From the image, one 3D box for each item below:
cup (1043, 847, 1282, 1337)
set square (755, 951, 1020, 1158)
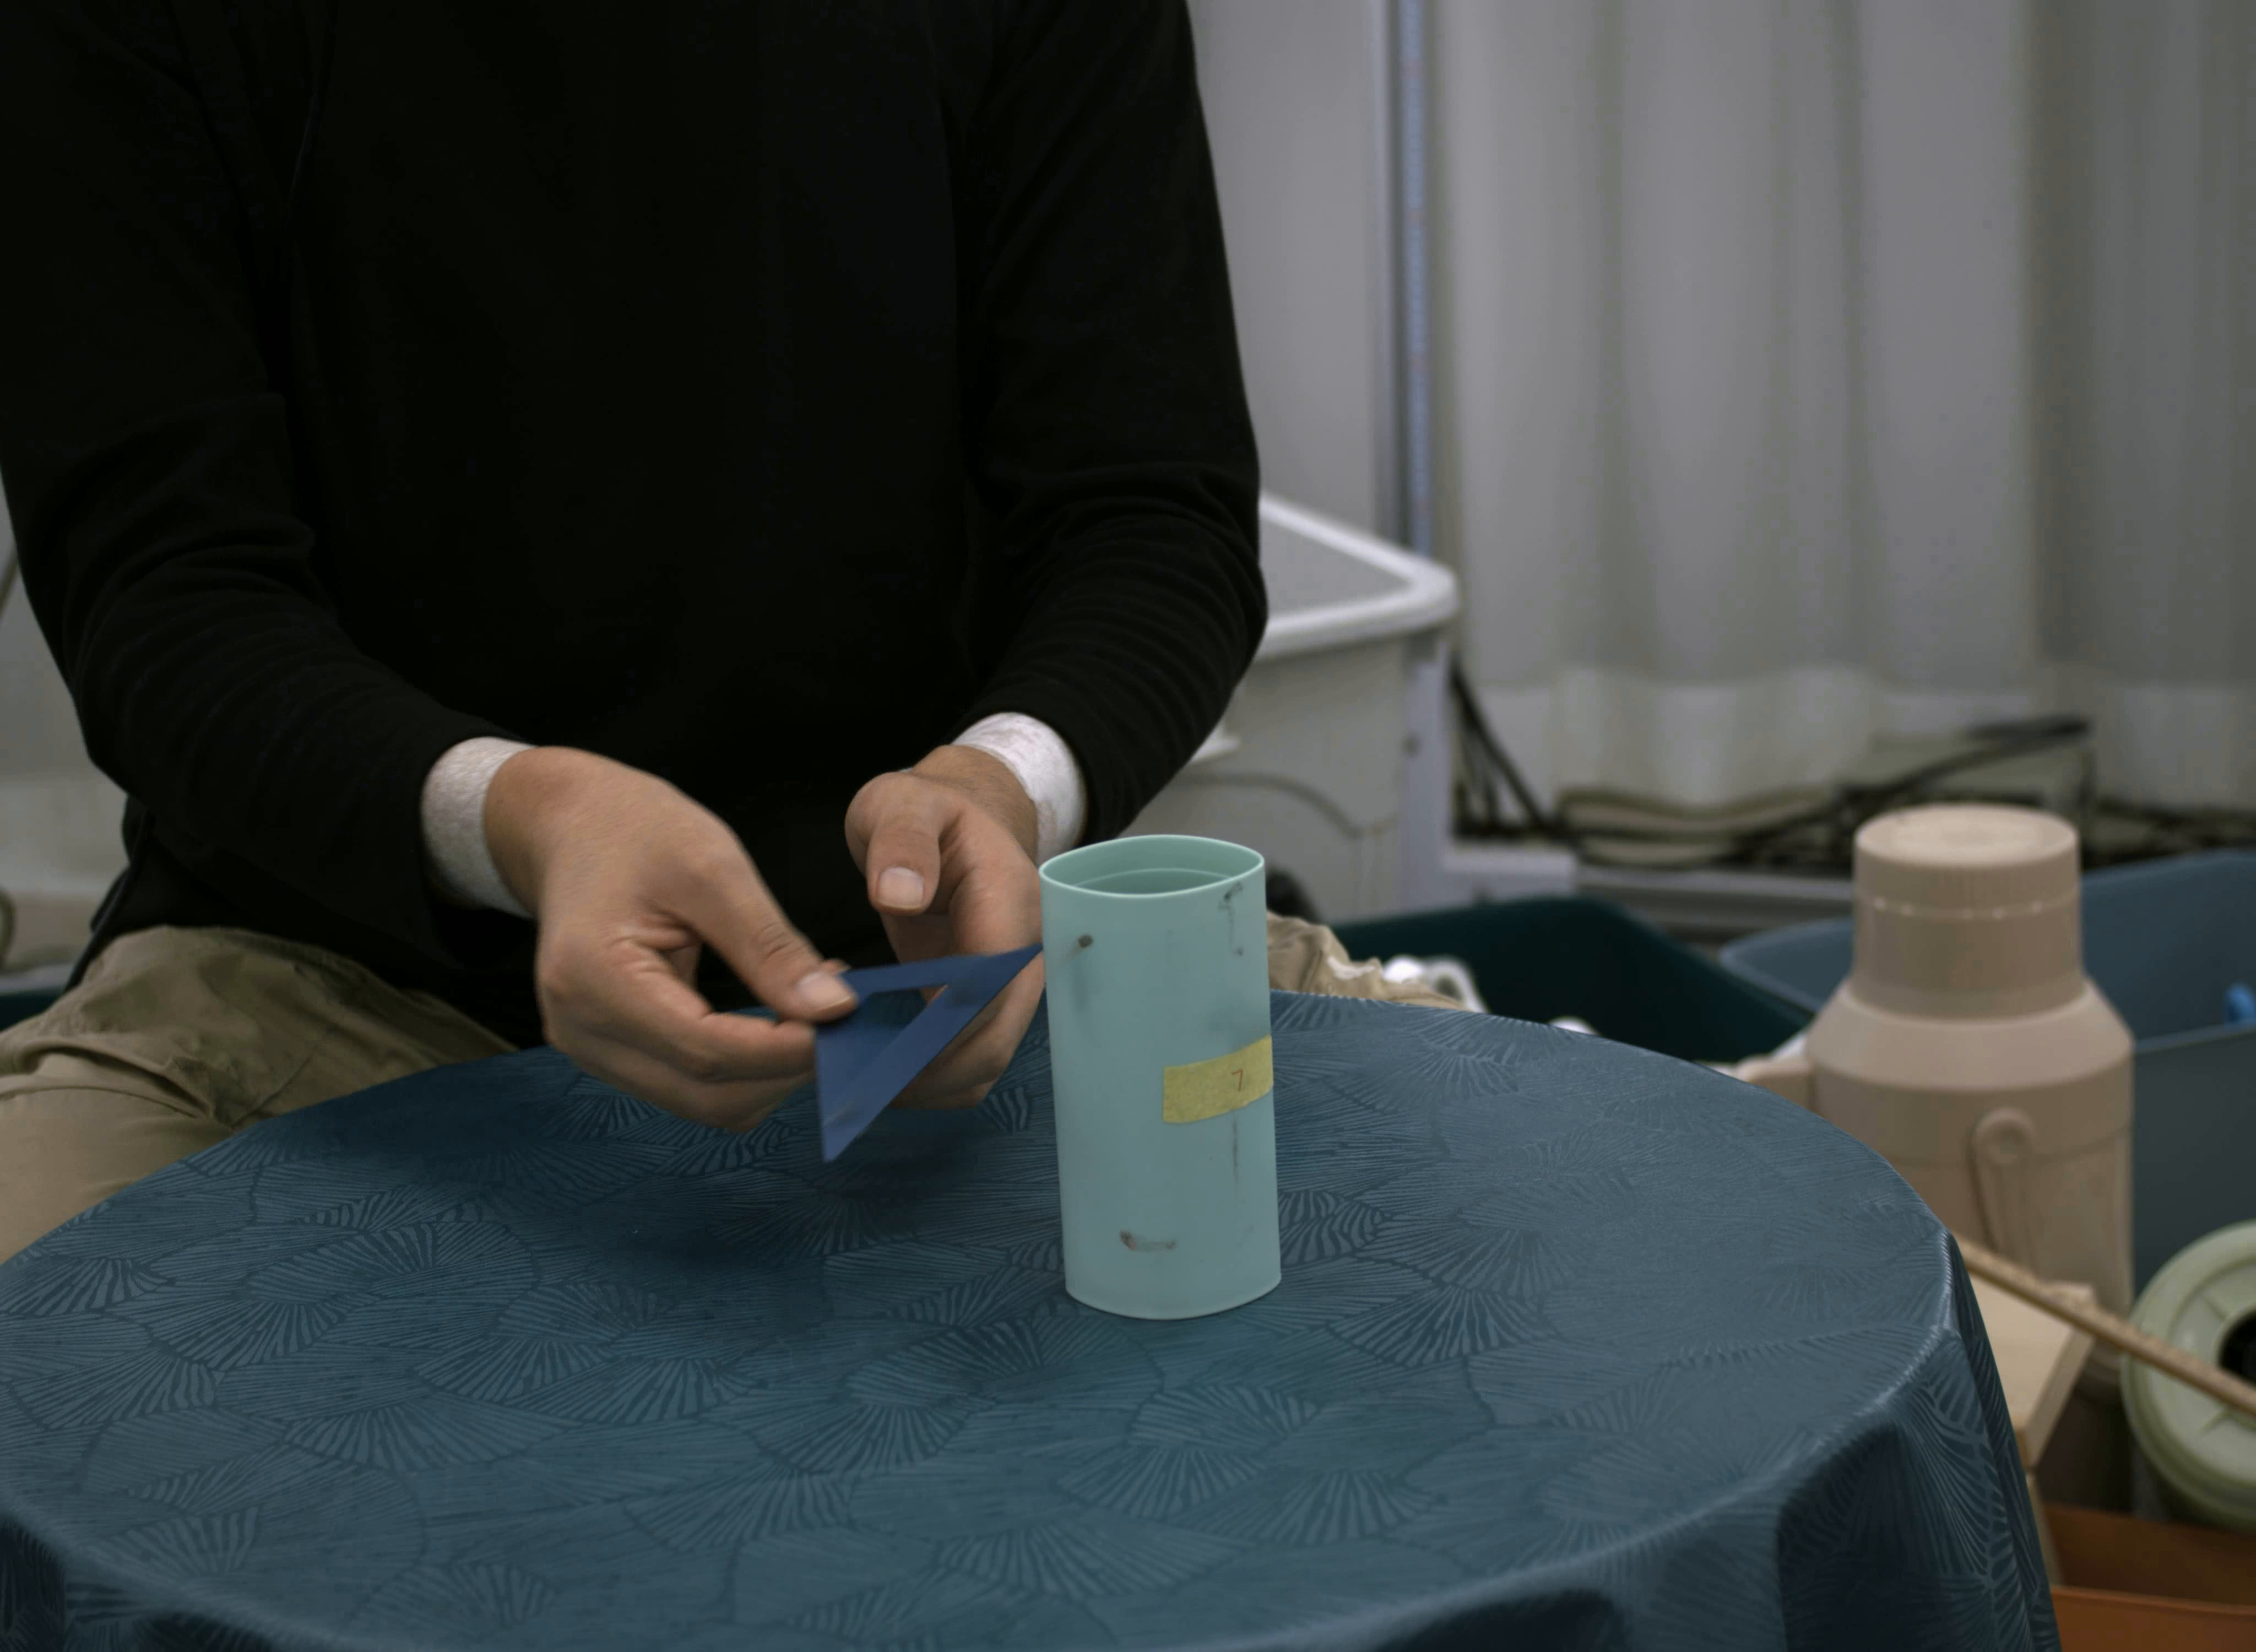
[{"bbox_3d":[0.010,0.077,1.615,0.066,0.132,0.067,-3,14,0],"label":"cup"},{"bbox_3d":[-0.088,0.062,1.619,0.061,0.006,0.132,10,30,28],"label":"set square"}]
